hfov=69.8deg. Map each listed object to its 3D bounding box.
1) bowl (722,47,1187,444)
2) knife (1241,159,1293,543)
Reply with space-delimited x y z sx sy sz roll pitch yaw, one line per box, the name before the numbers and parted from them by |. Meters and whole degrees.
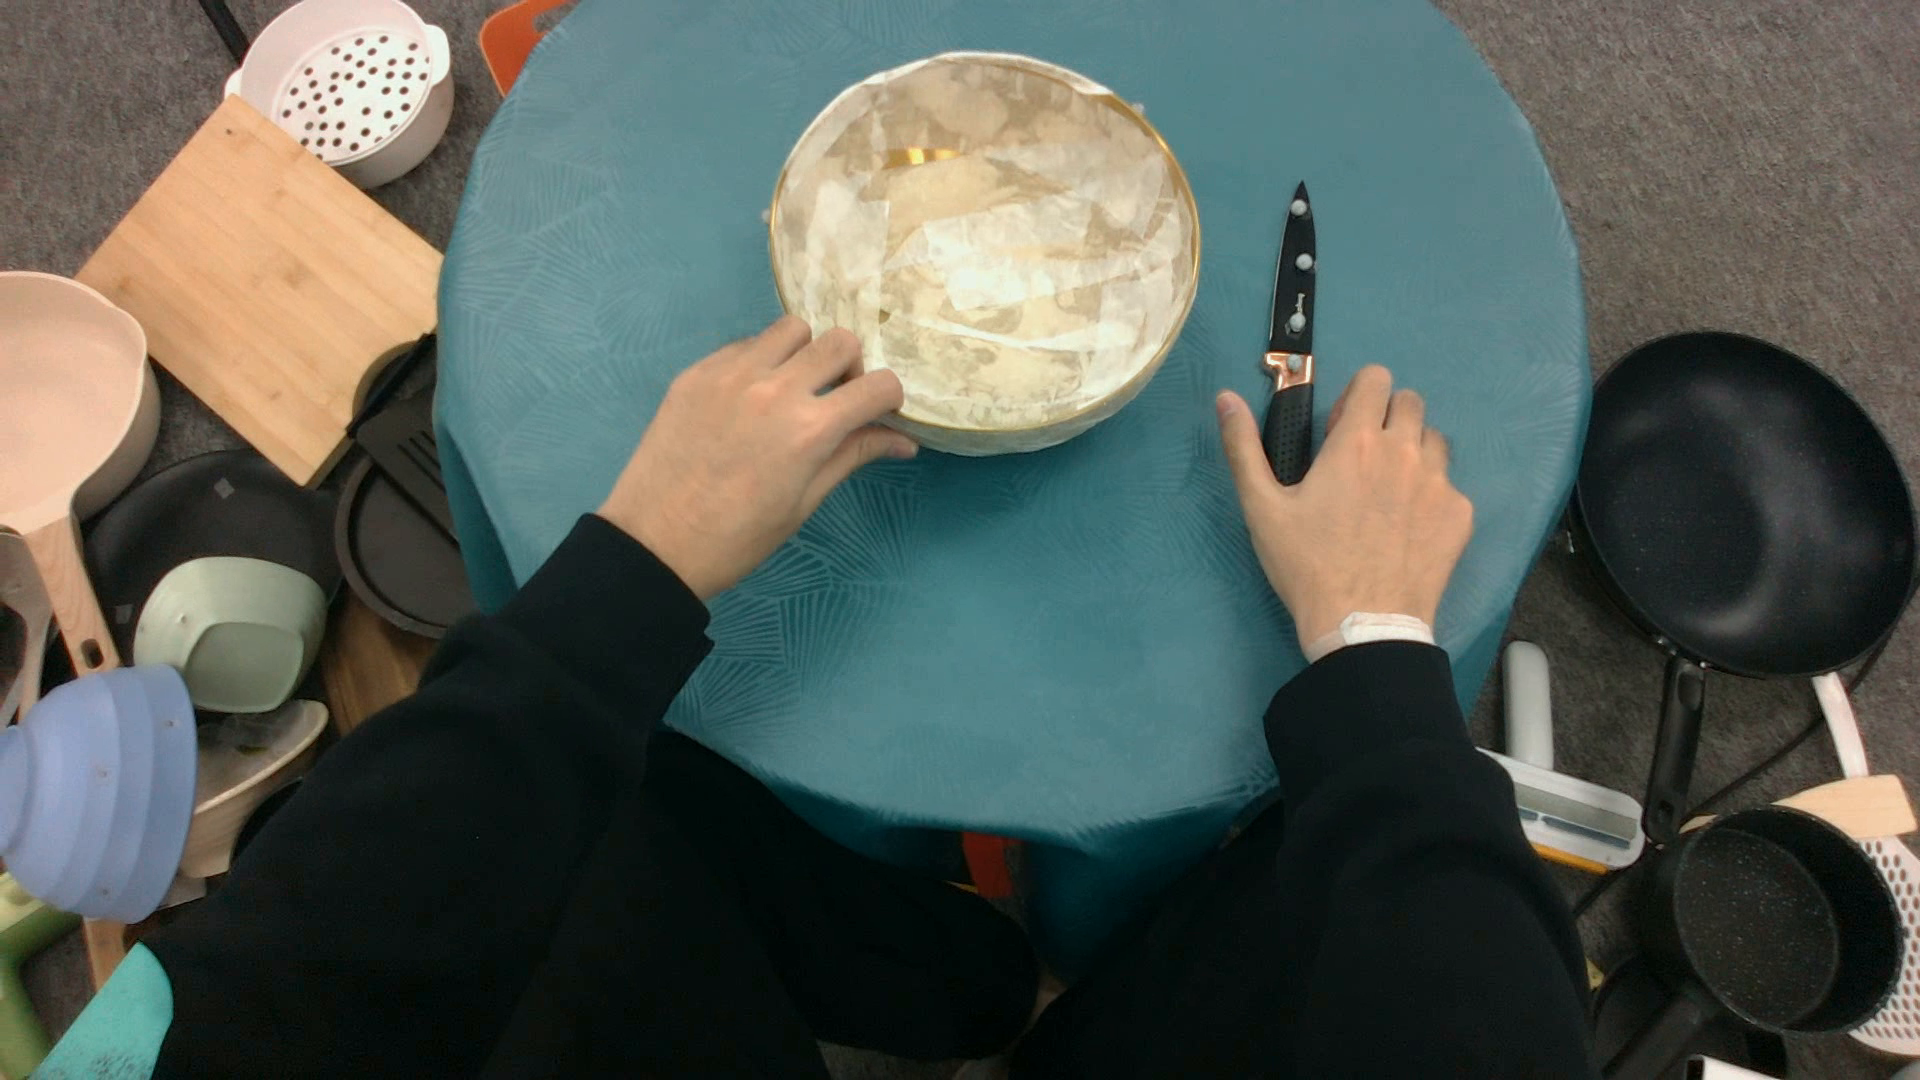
bowl | -0.002 -0.125 0.667 0.215 0.094 0.215 1 68 -3
knife | 0.158 -0.104 0.709 0.026 0.017 0.226 3 68 6
